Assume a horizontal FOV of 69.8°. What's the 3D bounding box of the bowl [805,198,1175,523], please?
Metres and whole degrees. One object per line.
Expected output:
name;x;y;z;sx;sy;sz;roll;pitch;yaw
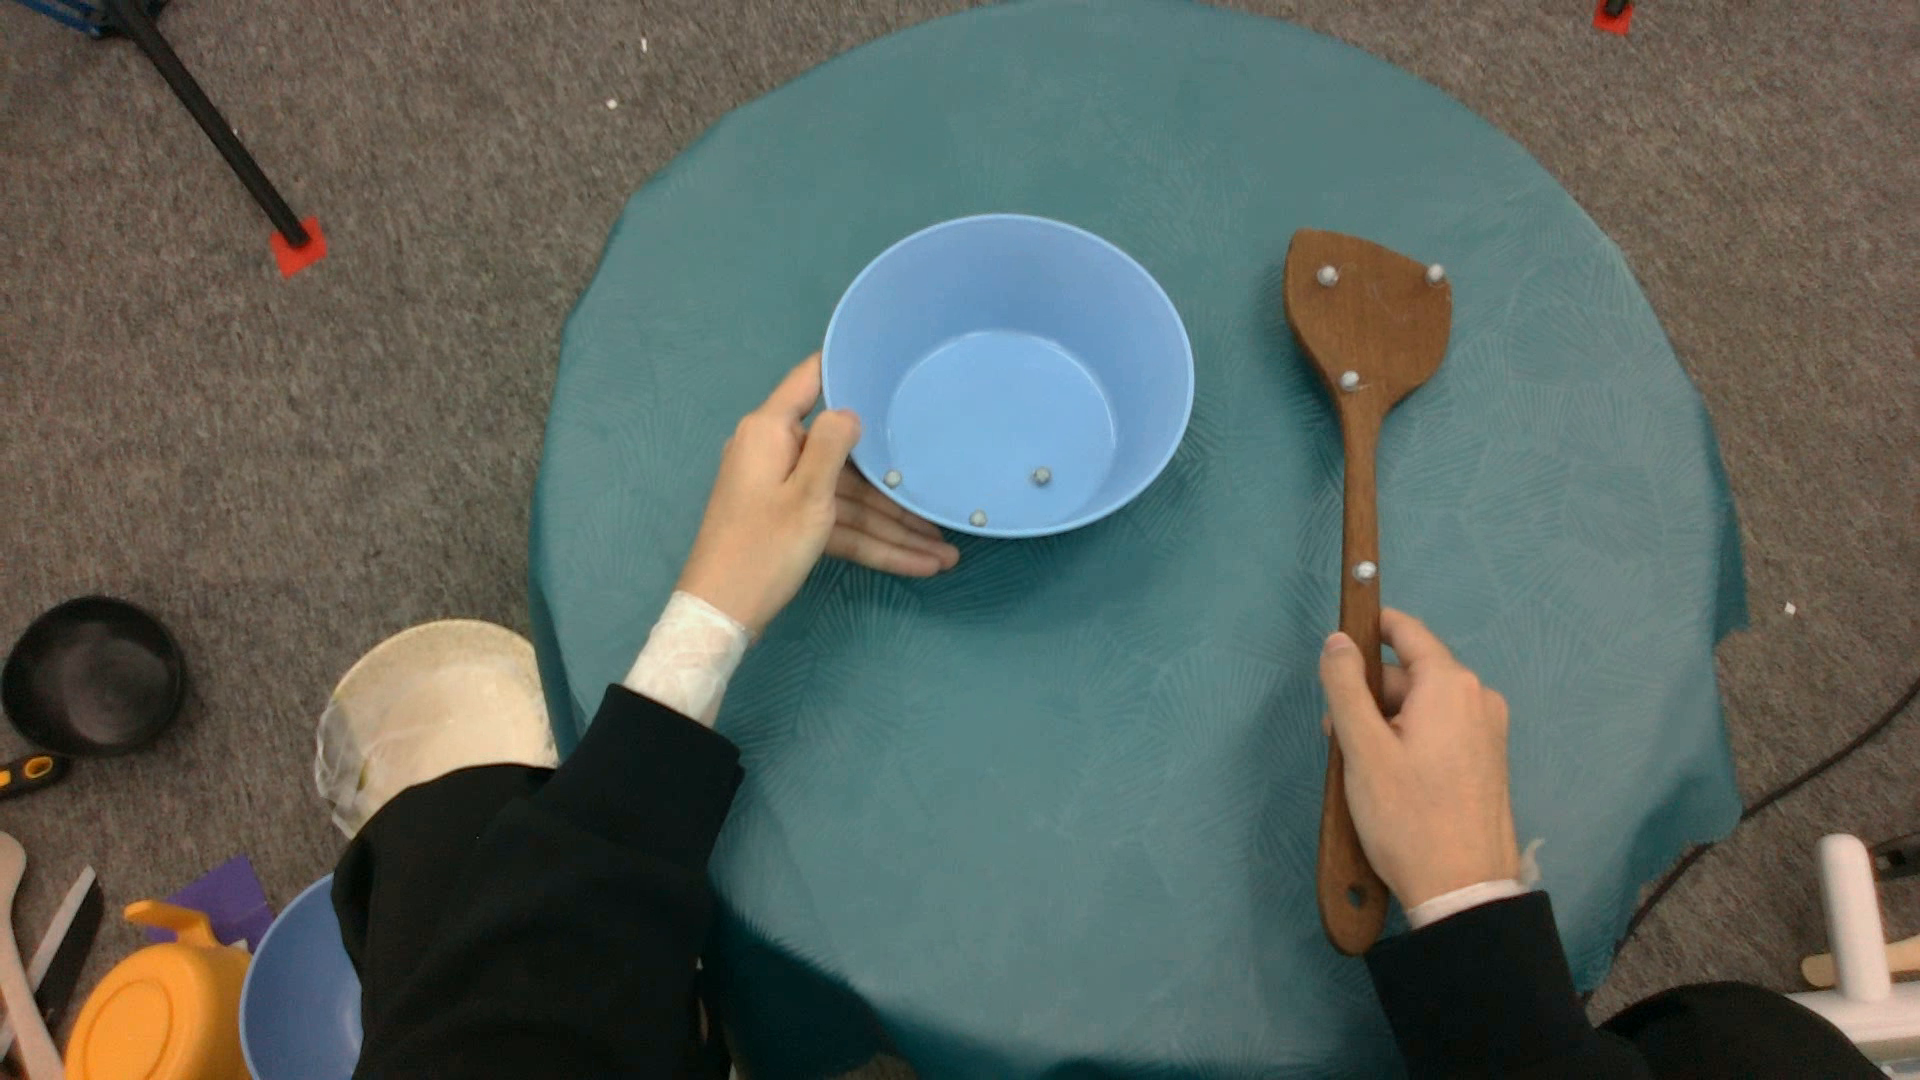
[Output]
bowl;0.014;-0.077;0.678;0.176;0.070;0.176;1;66;-1

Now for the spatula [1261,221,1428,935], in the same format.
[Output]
spatula;0.179;-0.006;0.646;0.096;0.015;0.388;16;56;-9
